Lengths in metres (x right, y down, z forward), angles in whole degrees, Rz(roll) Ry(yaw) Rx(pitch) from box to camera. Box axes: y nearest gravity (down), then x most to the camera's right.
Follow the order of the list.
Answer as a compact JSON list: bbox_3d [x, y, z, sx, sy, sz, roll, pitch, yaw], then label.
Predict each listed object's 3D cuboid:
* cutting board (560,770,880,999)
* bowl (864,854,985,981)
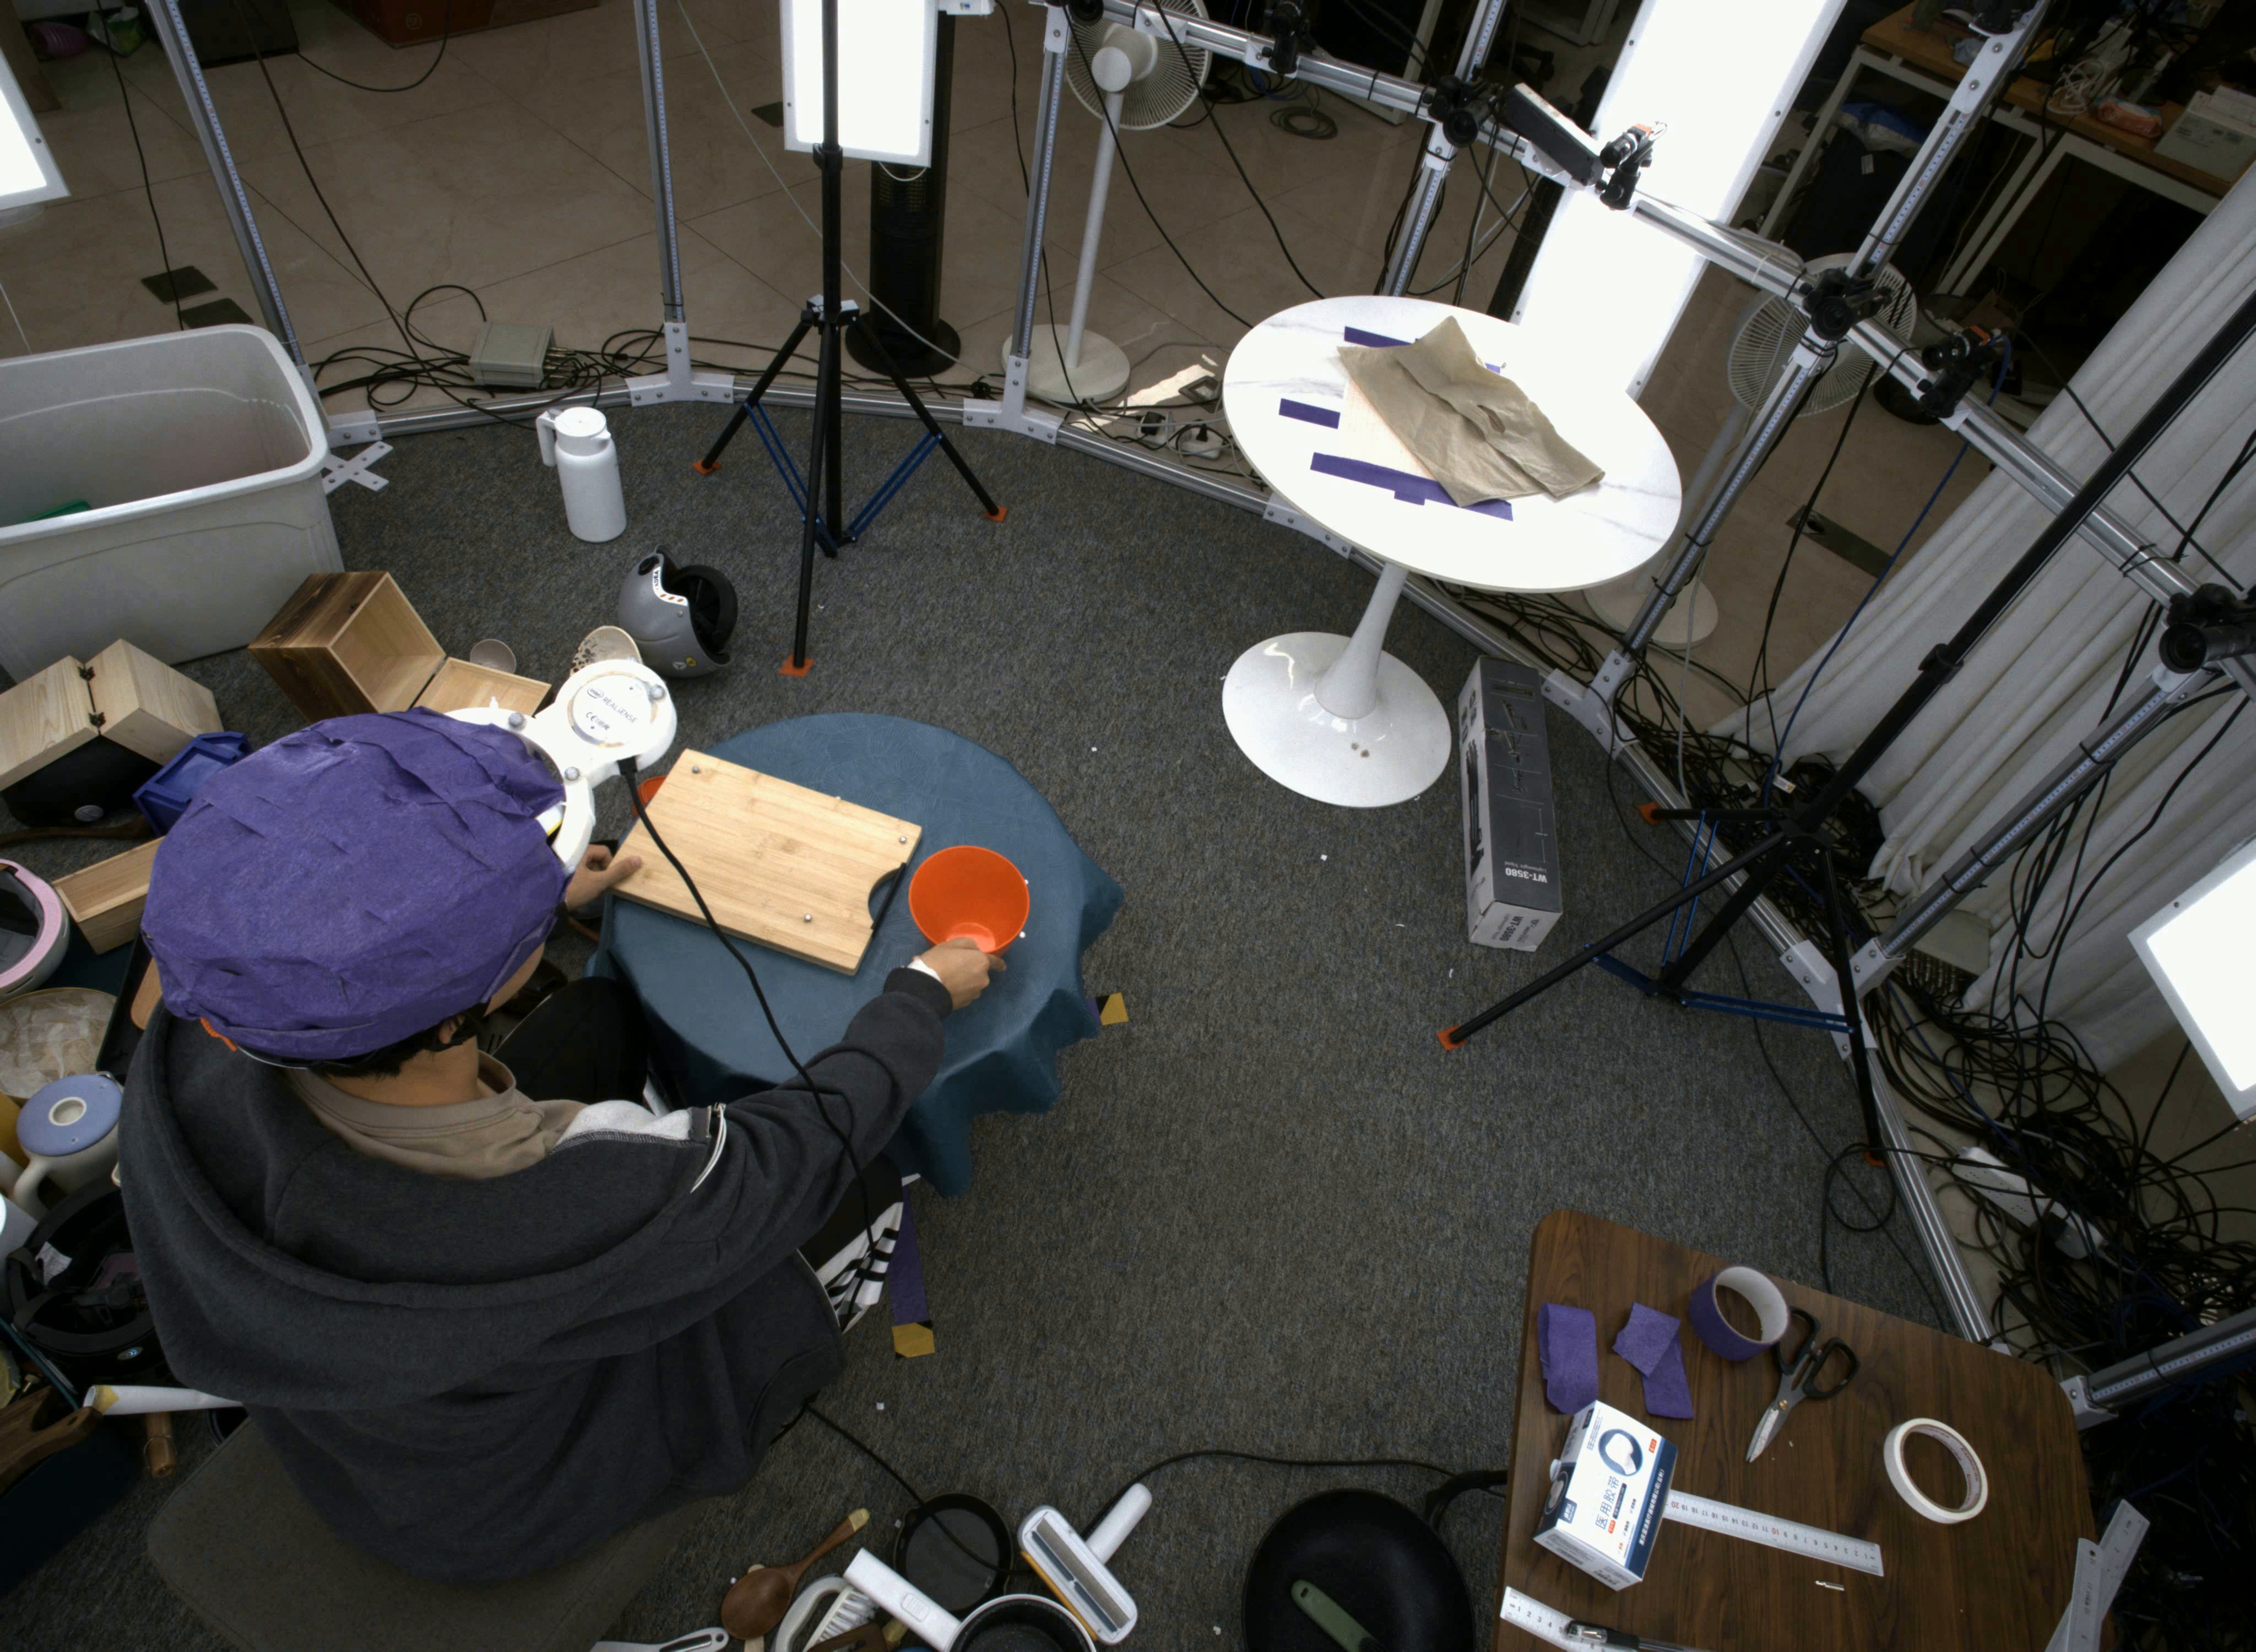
[{"bbox_3d":[-0.517,0.066,1.641,0.347,0.024,0.247,16,52,-4],"label":"cutting board"},{"bbox_3d":[-0.252,0.124,1.613,0.147,0.107,0.145,7,49,-7],"label":"bowl"}]
